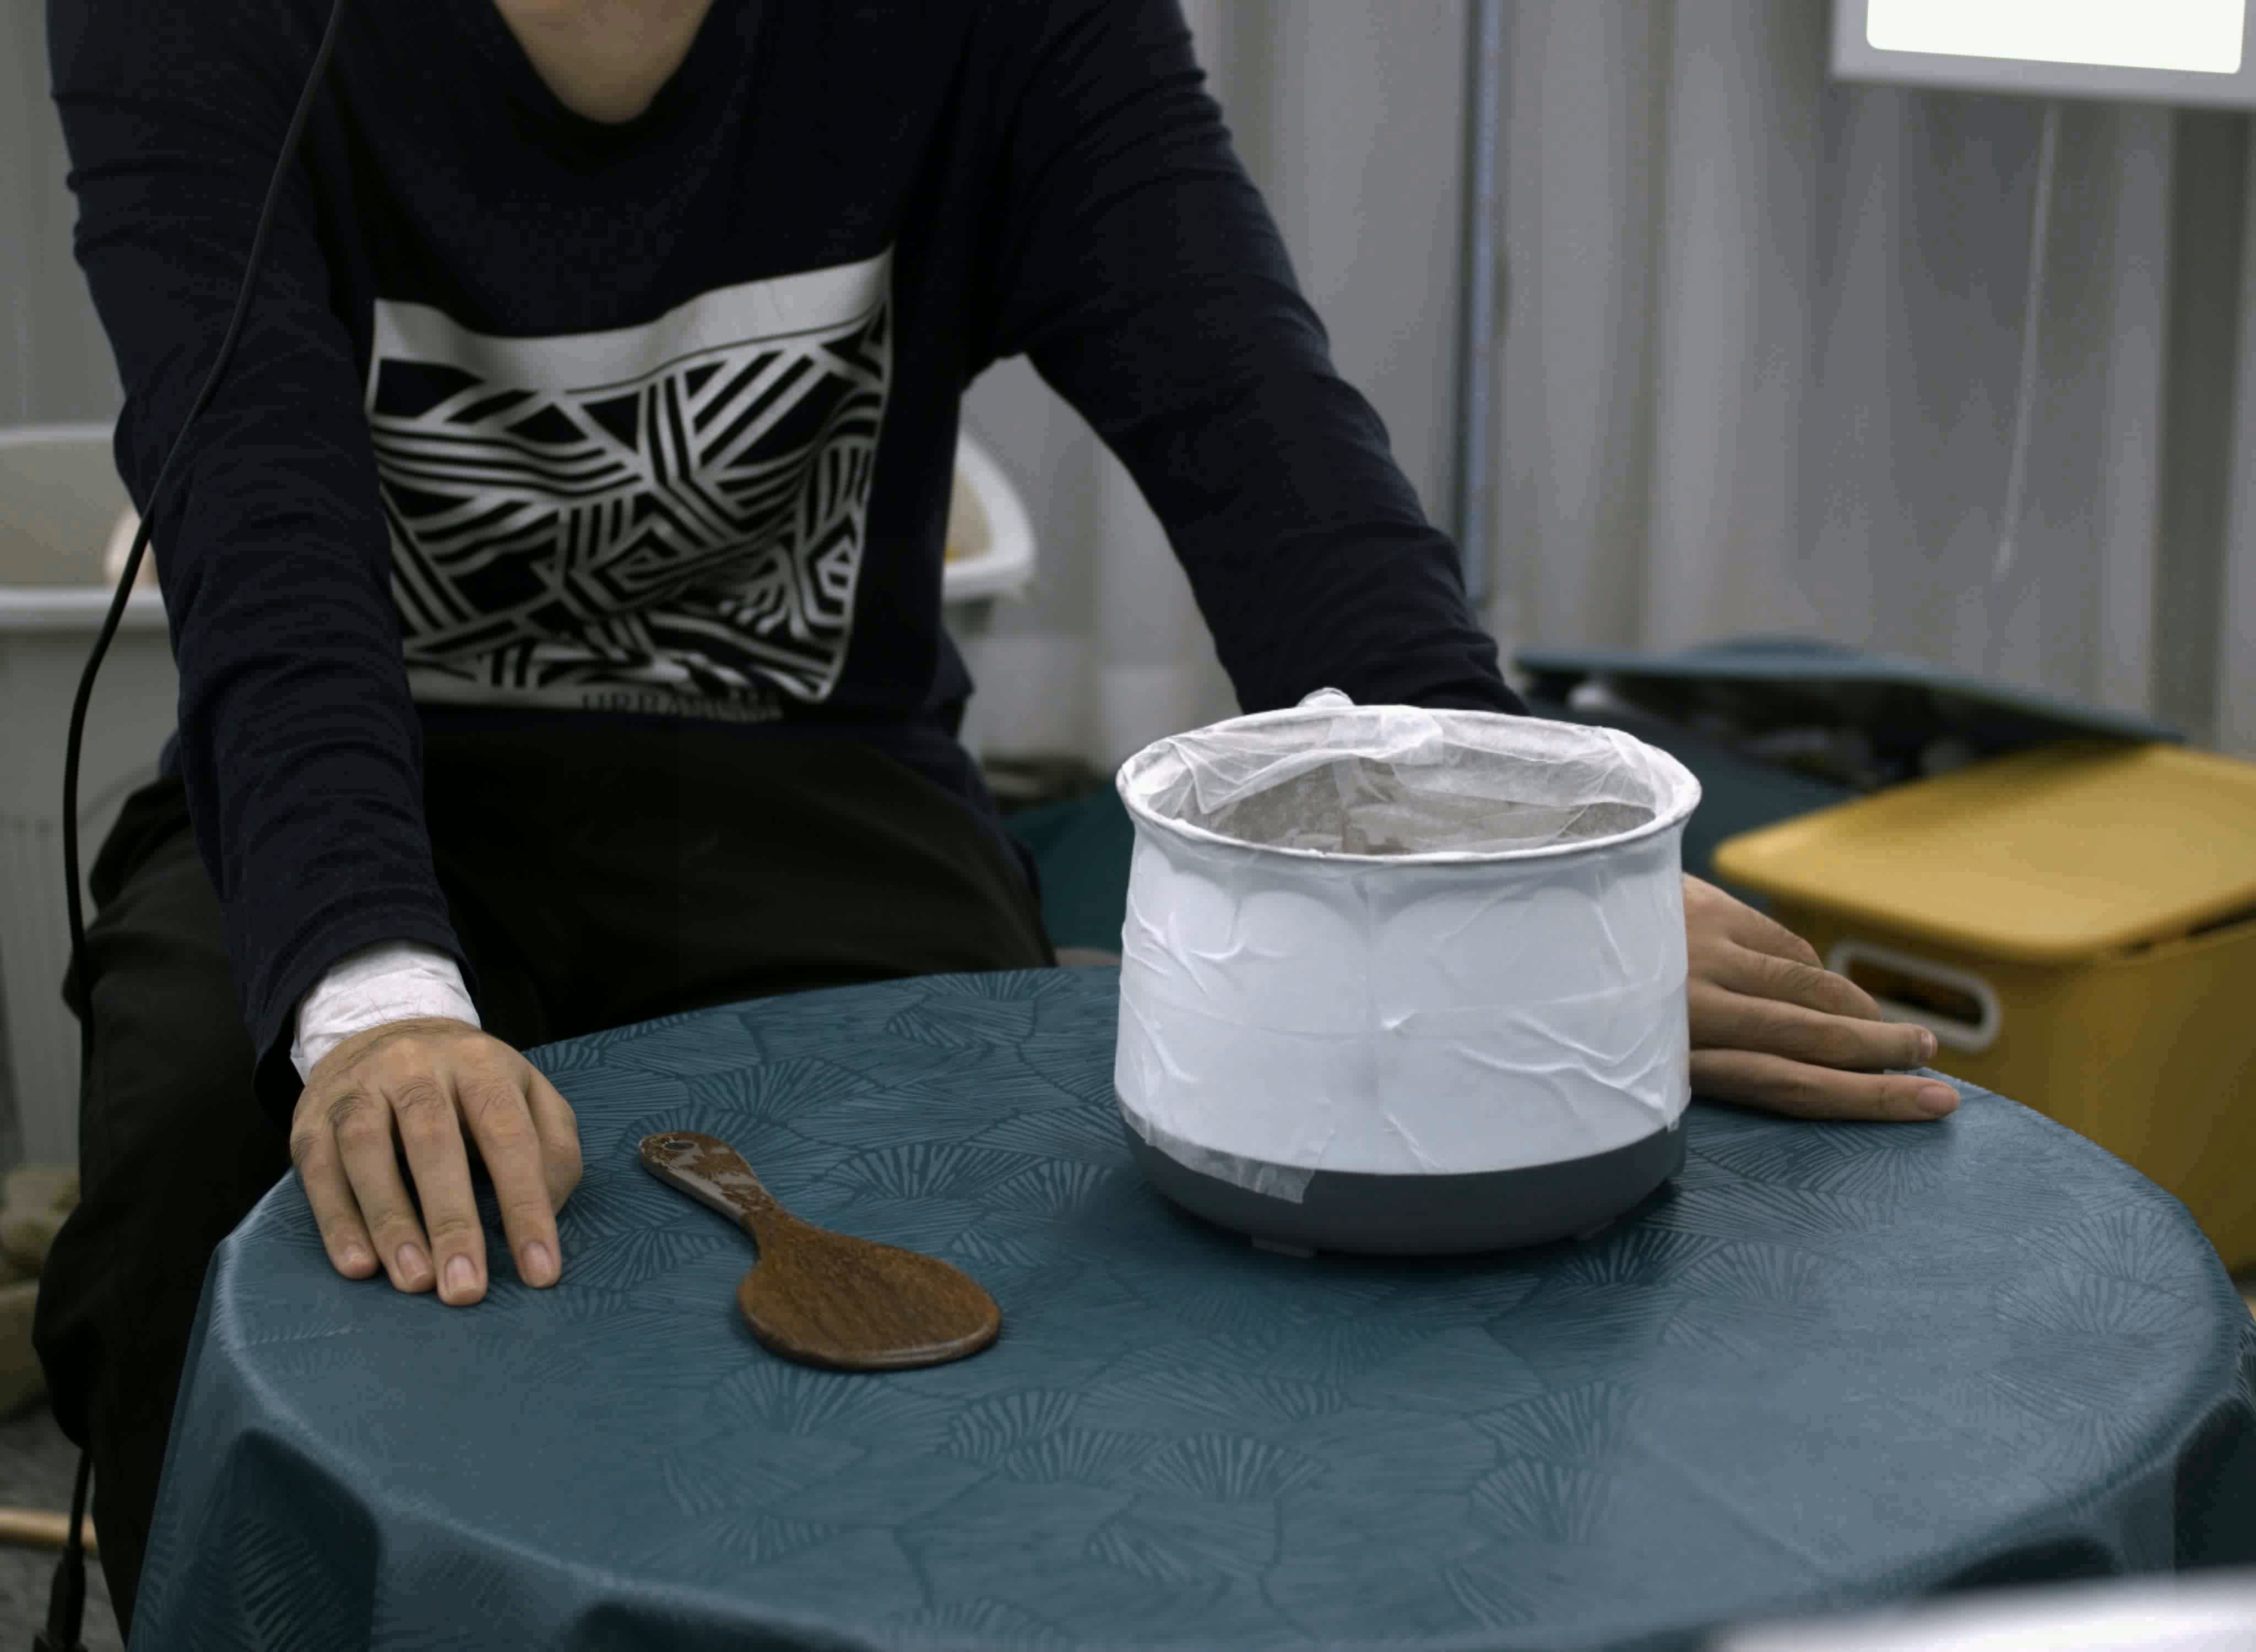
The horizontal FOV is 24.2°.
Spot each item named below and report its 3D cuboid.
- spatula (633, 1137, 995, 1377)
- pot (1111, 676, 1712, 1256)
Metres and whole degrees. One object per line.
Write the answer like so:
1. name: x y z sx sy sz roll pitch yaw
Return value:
1. spatula: -0.103 0.124 1.568 0.072 0.009 0.213 -4 15 -24
2. pot: 0.078 0.038 1.633 0.179 0.138 0.231 -1 17 -14
